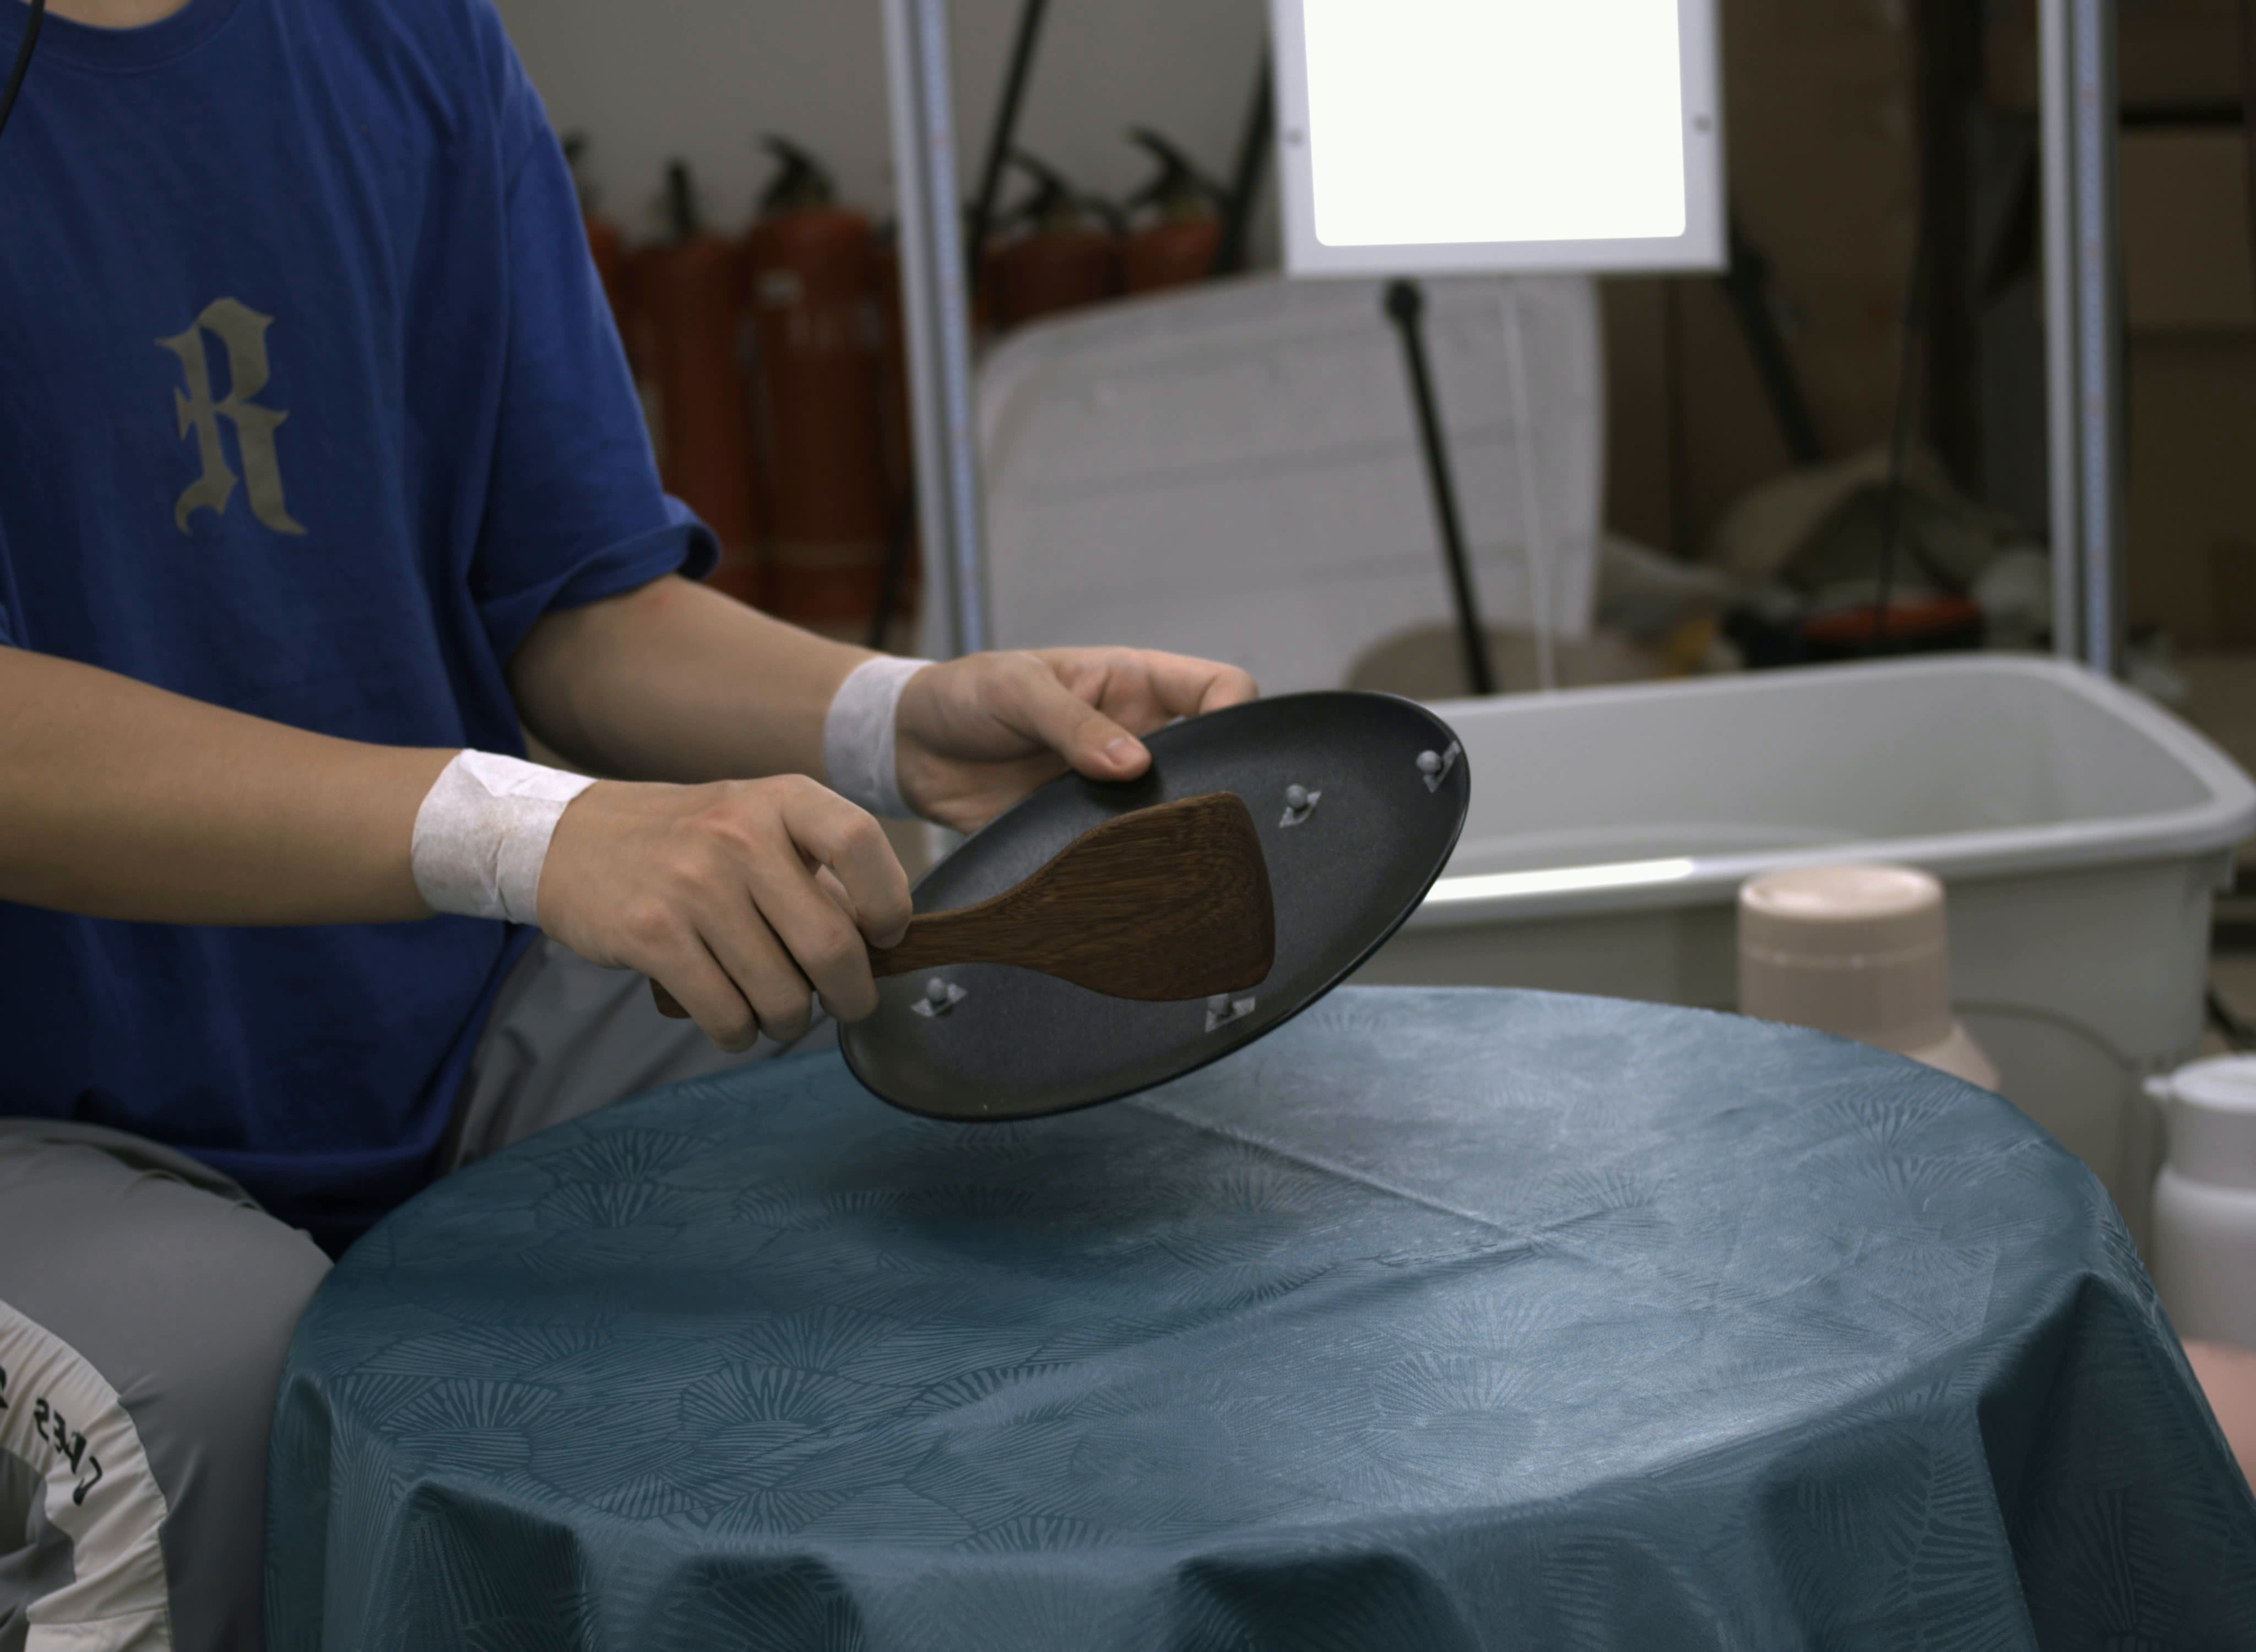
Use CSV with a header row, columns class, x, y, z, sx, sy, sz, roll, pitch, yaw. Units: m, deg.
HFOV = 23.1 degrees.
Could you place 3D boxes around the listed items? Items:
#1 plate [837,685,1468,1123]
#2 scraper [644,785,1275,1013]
class,x,y,z,sx,sy,sz,roll,pitch,yaw
plate,0.011,0.032,1.924,0.246,0.023,0.244,-24,27,11
scraper,-0.057,0.035,1.820,0.212,0.076,0.011,-9,26,10
